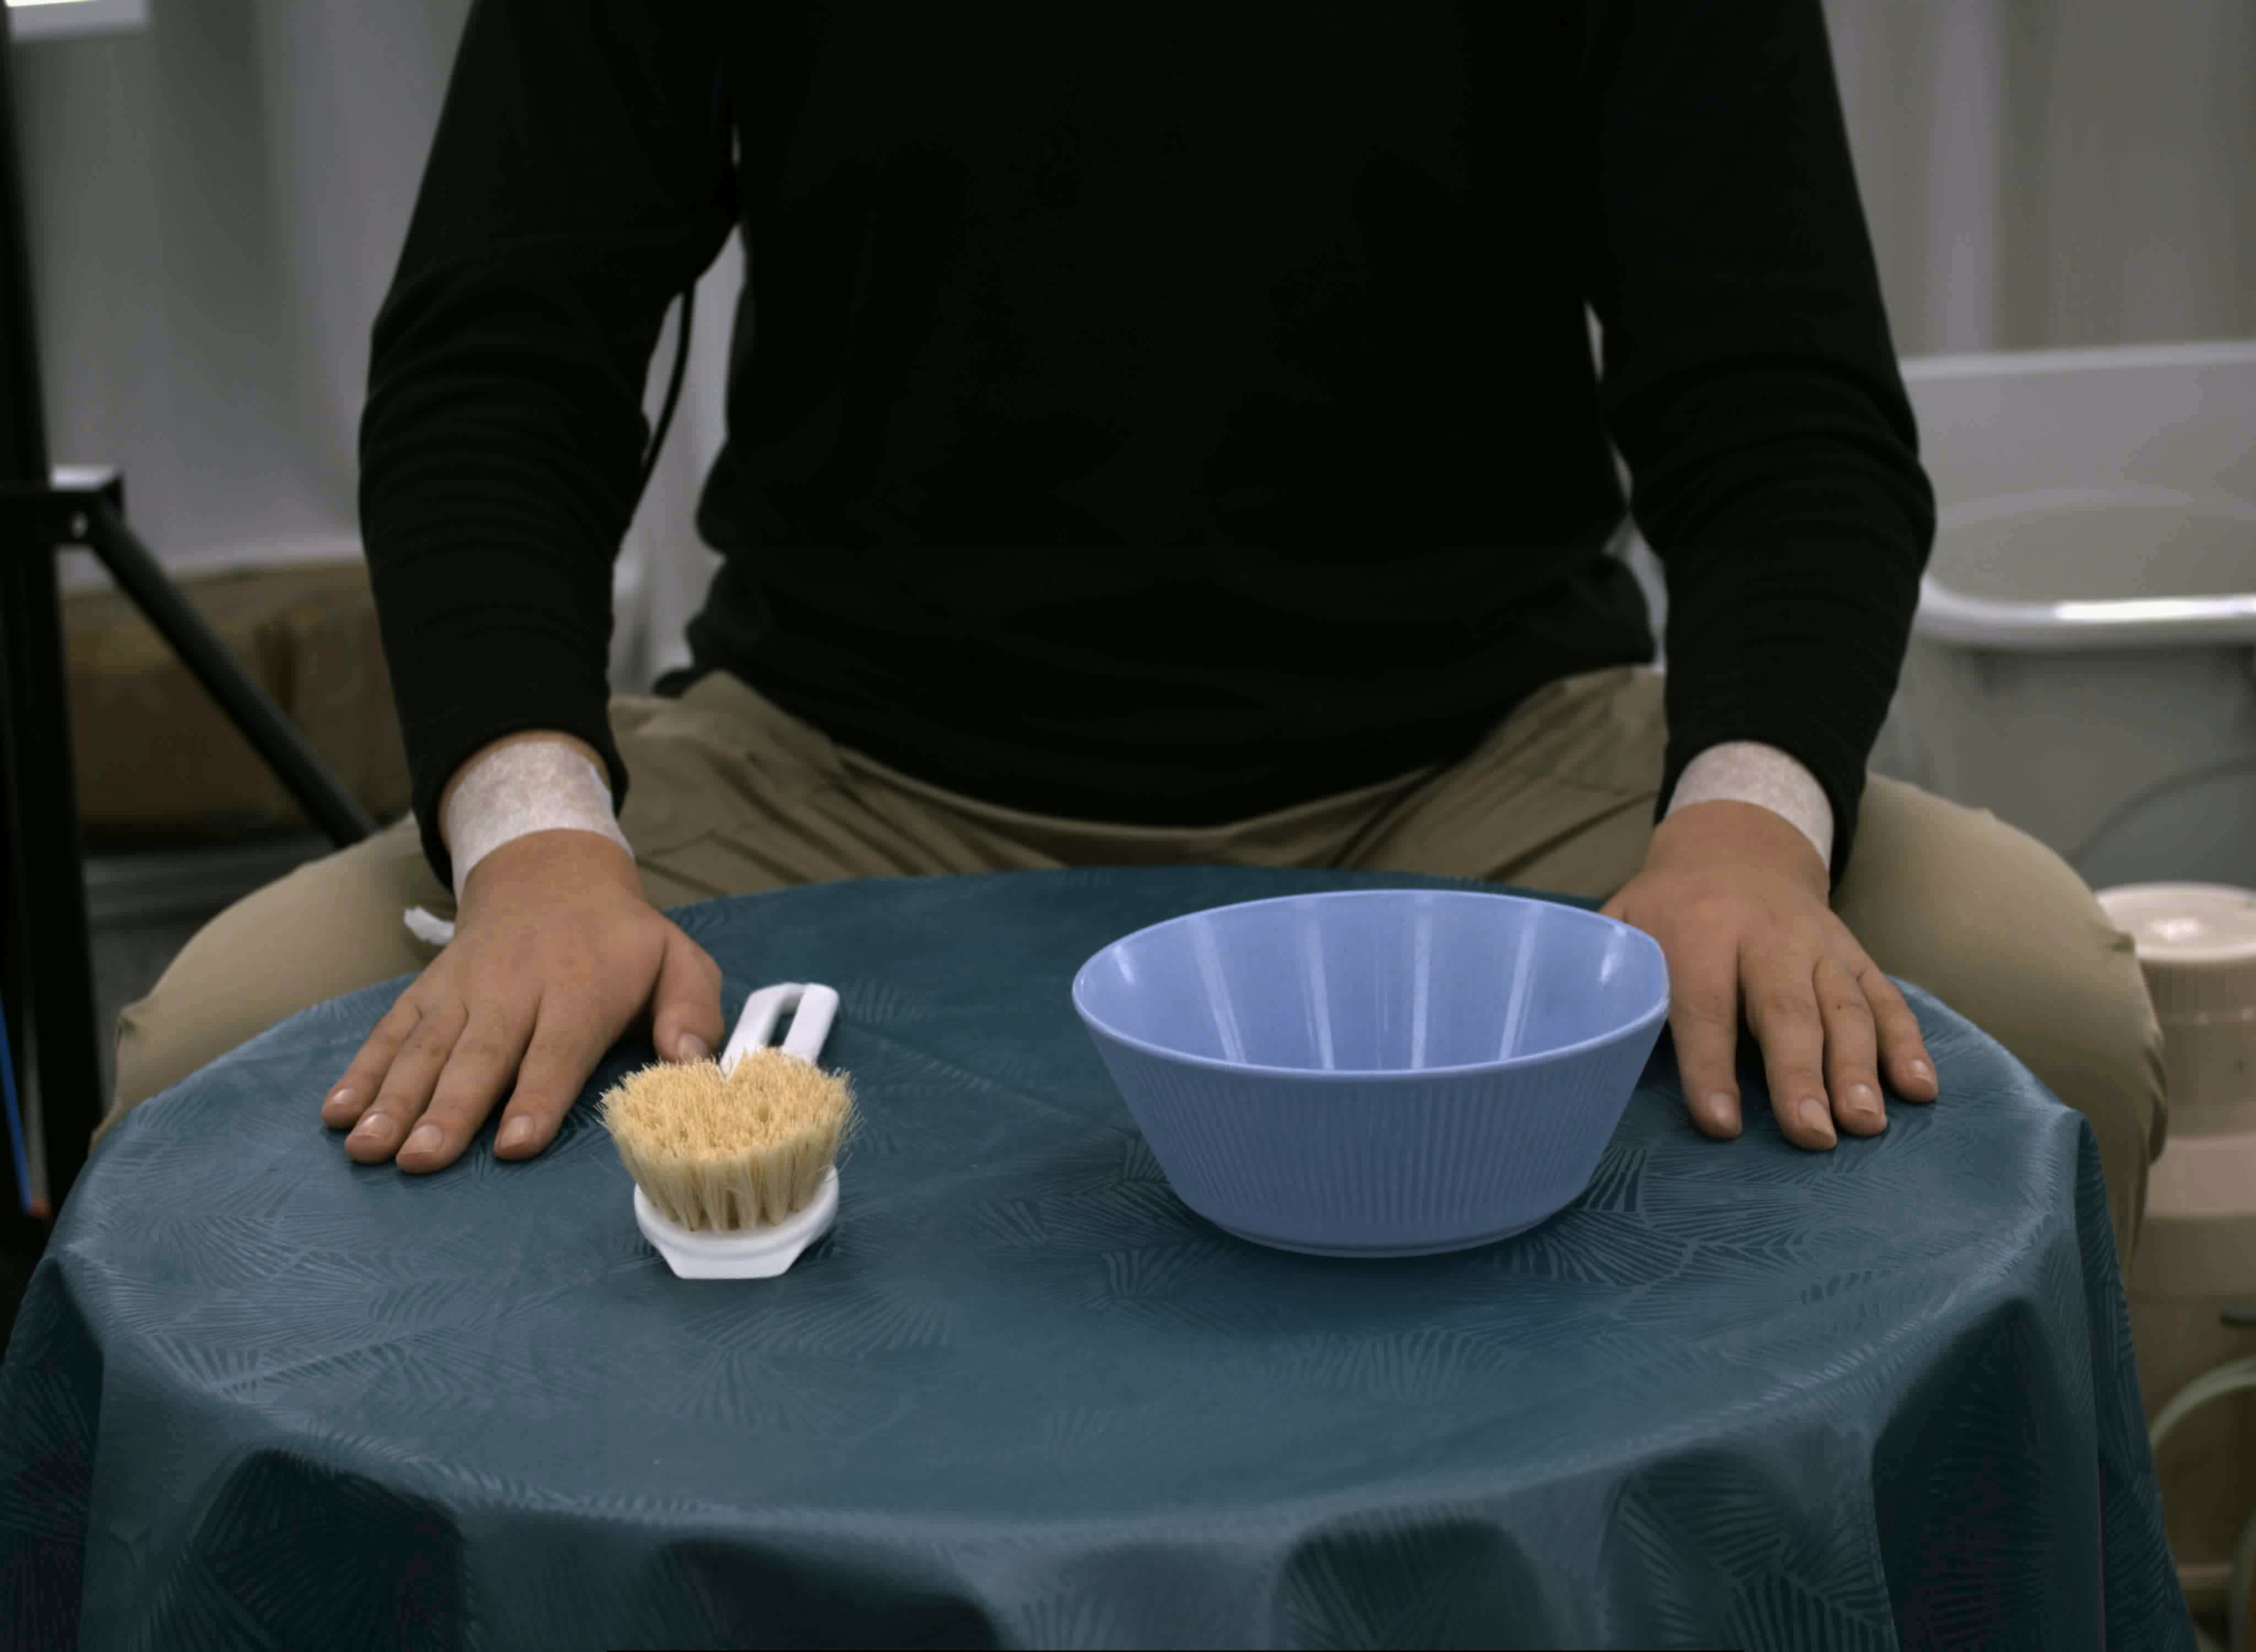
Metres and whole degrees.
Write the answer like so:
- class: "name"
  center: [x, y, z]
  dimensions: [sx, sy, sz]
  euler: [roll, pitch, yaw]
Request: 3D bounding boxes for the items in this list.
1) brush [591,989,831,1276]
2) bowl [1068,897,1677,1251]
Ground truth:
- class: "brush"
  center: [-0.116, 0.068, 1.620]
  dimensions: [0.068, 0.056, 0.267]
  euler: [3, 15, 2]
- class: "bowl"
  center: [0.071, 0.074, 1.535]
  dimensions: [0.175, 0.070, 0.177]
  euler: [-2, 15, -1]
